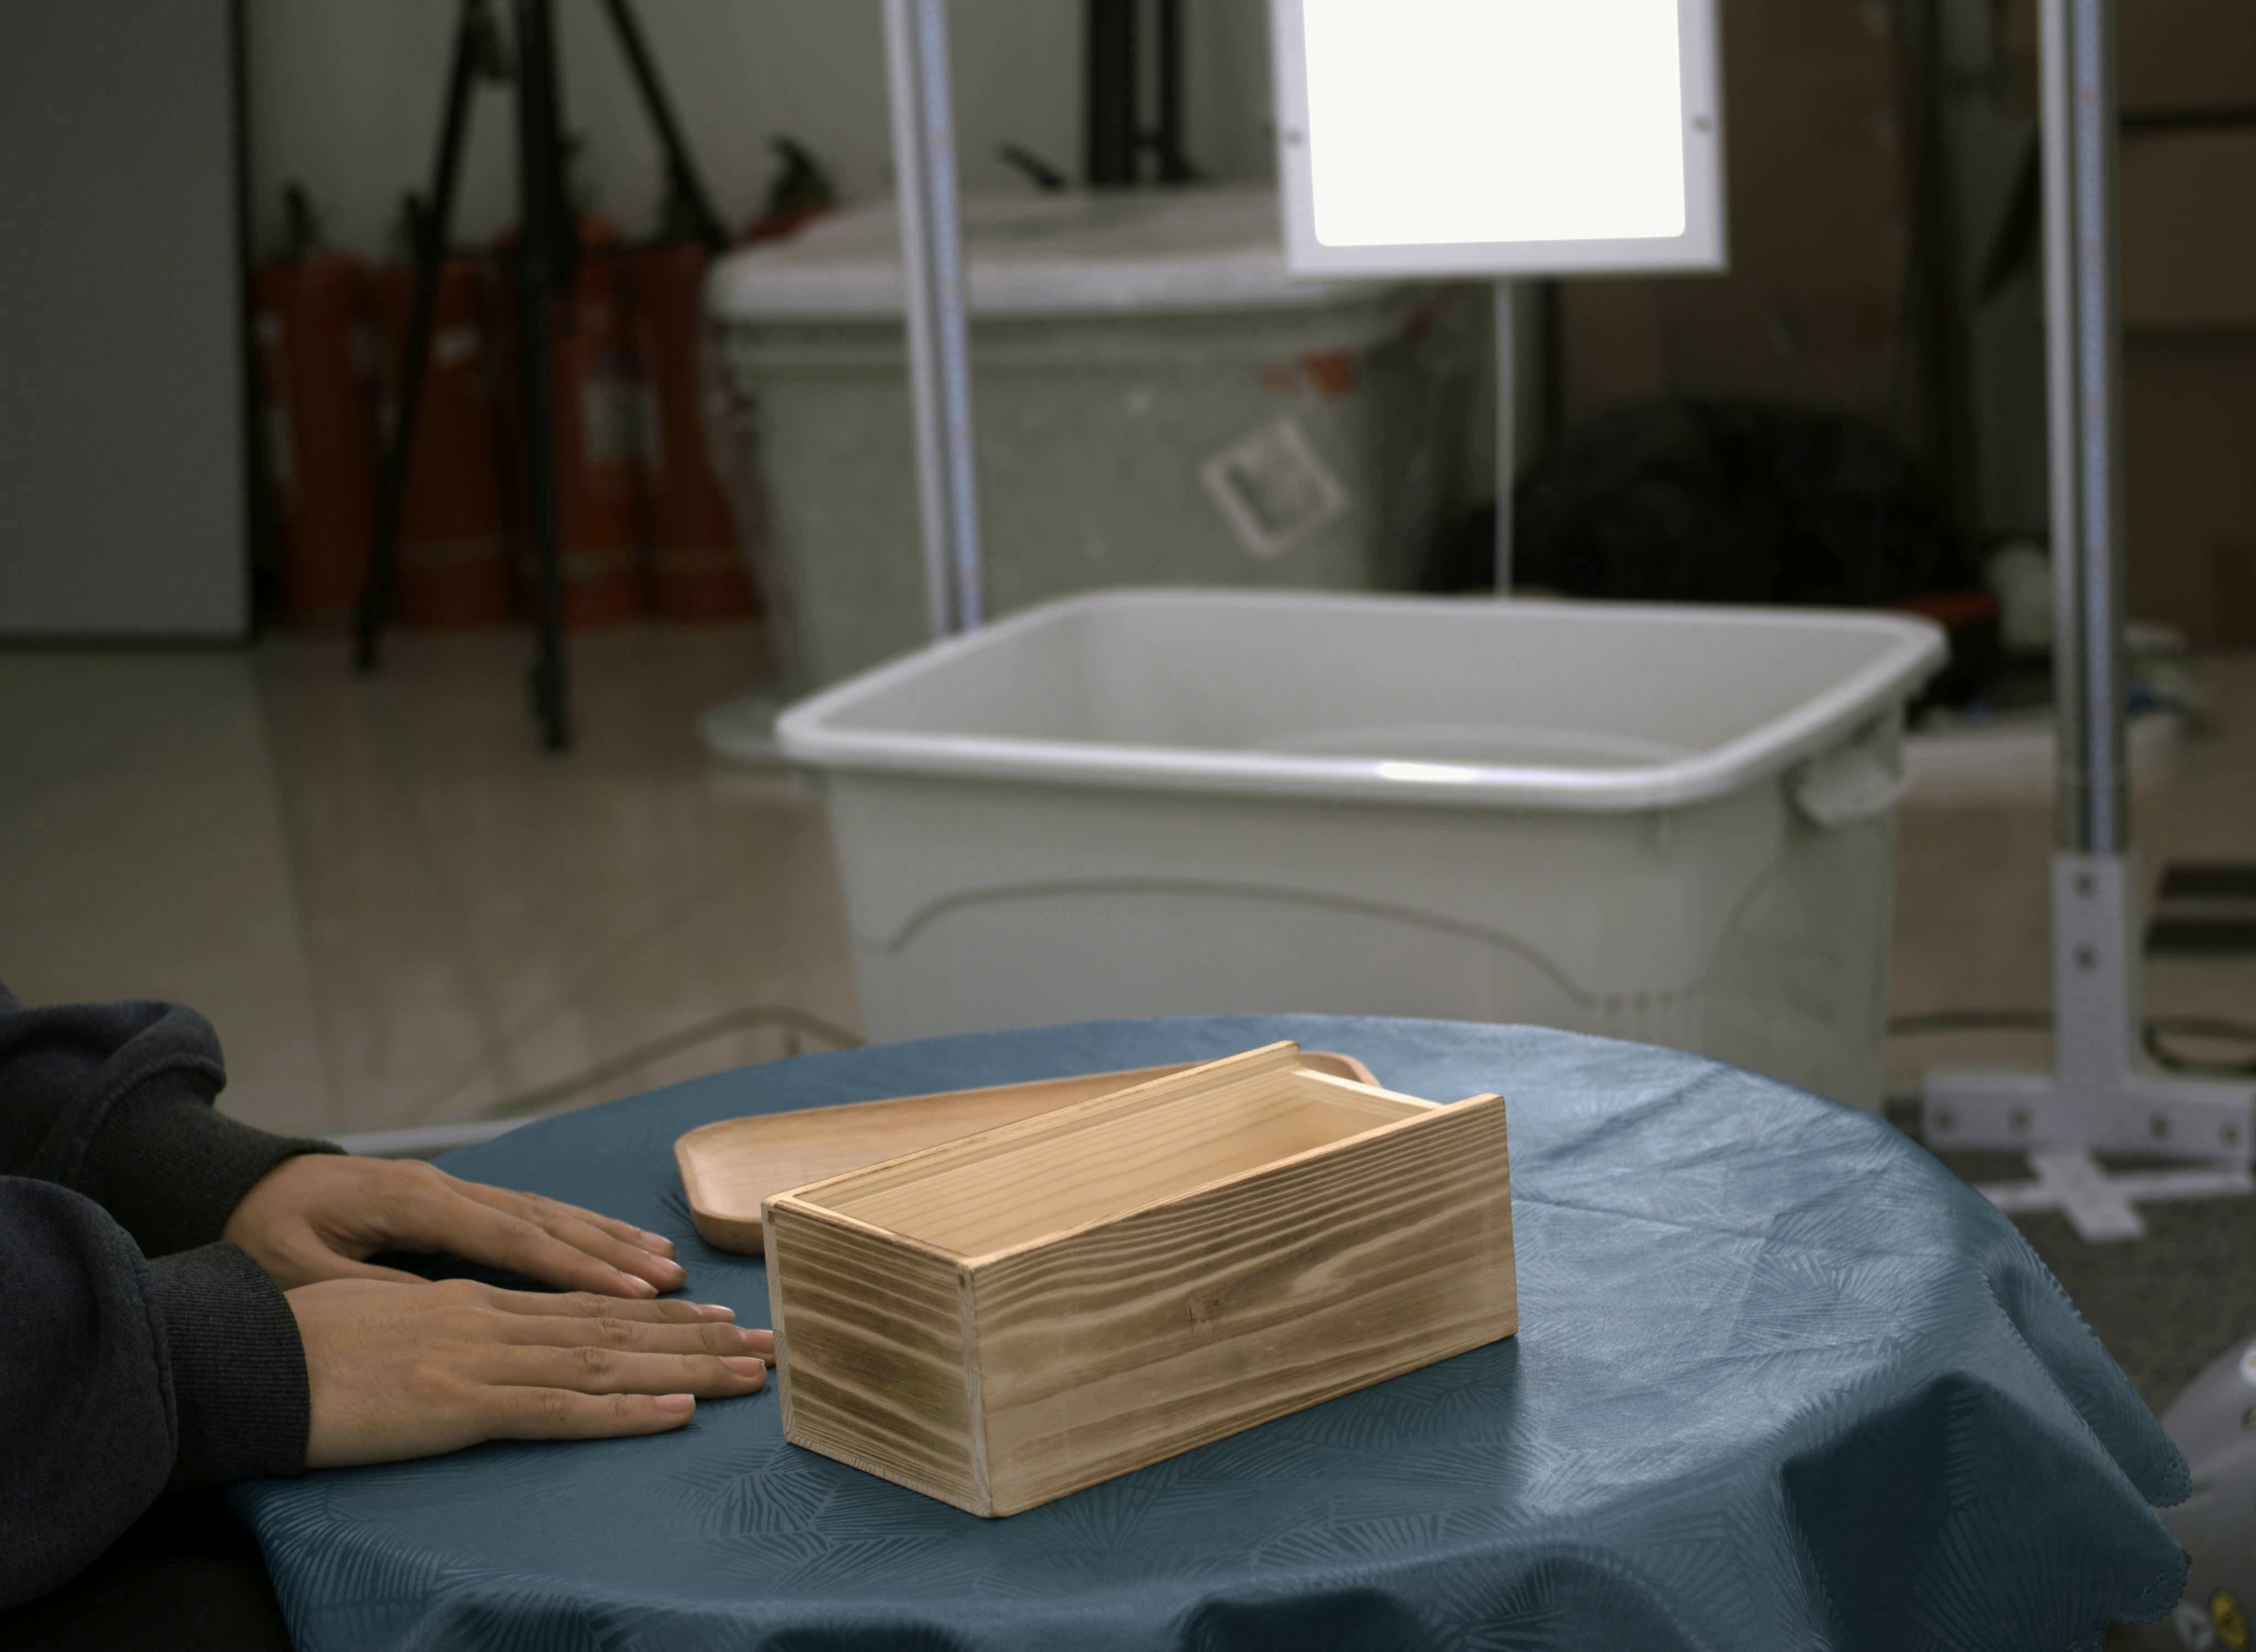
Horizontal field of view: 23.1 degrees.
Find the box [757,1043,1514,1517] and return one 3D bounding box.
[{"bbox_3d":[0.005,0.136,1.691,0.206,0.080,0.110,-15,17,-35],"label":"box"}]

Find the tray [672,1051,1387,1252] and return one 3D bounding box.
[{"bbox_3d":[-0.032,0.113,1.926,0.249,0.023,0.131,-7,11,-6],"label":"tray"}]
